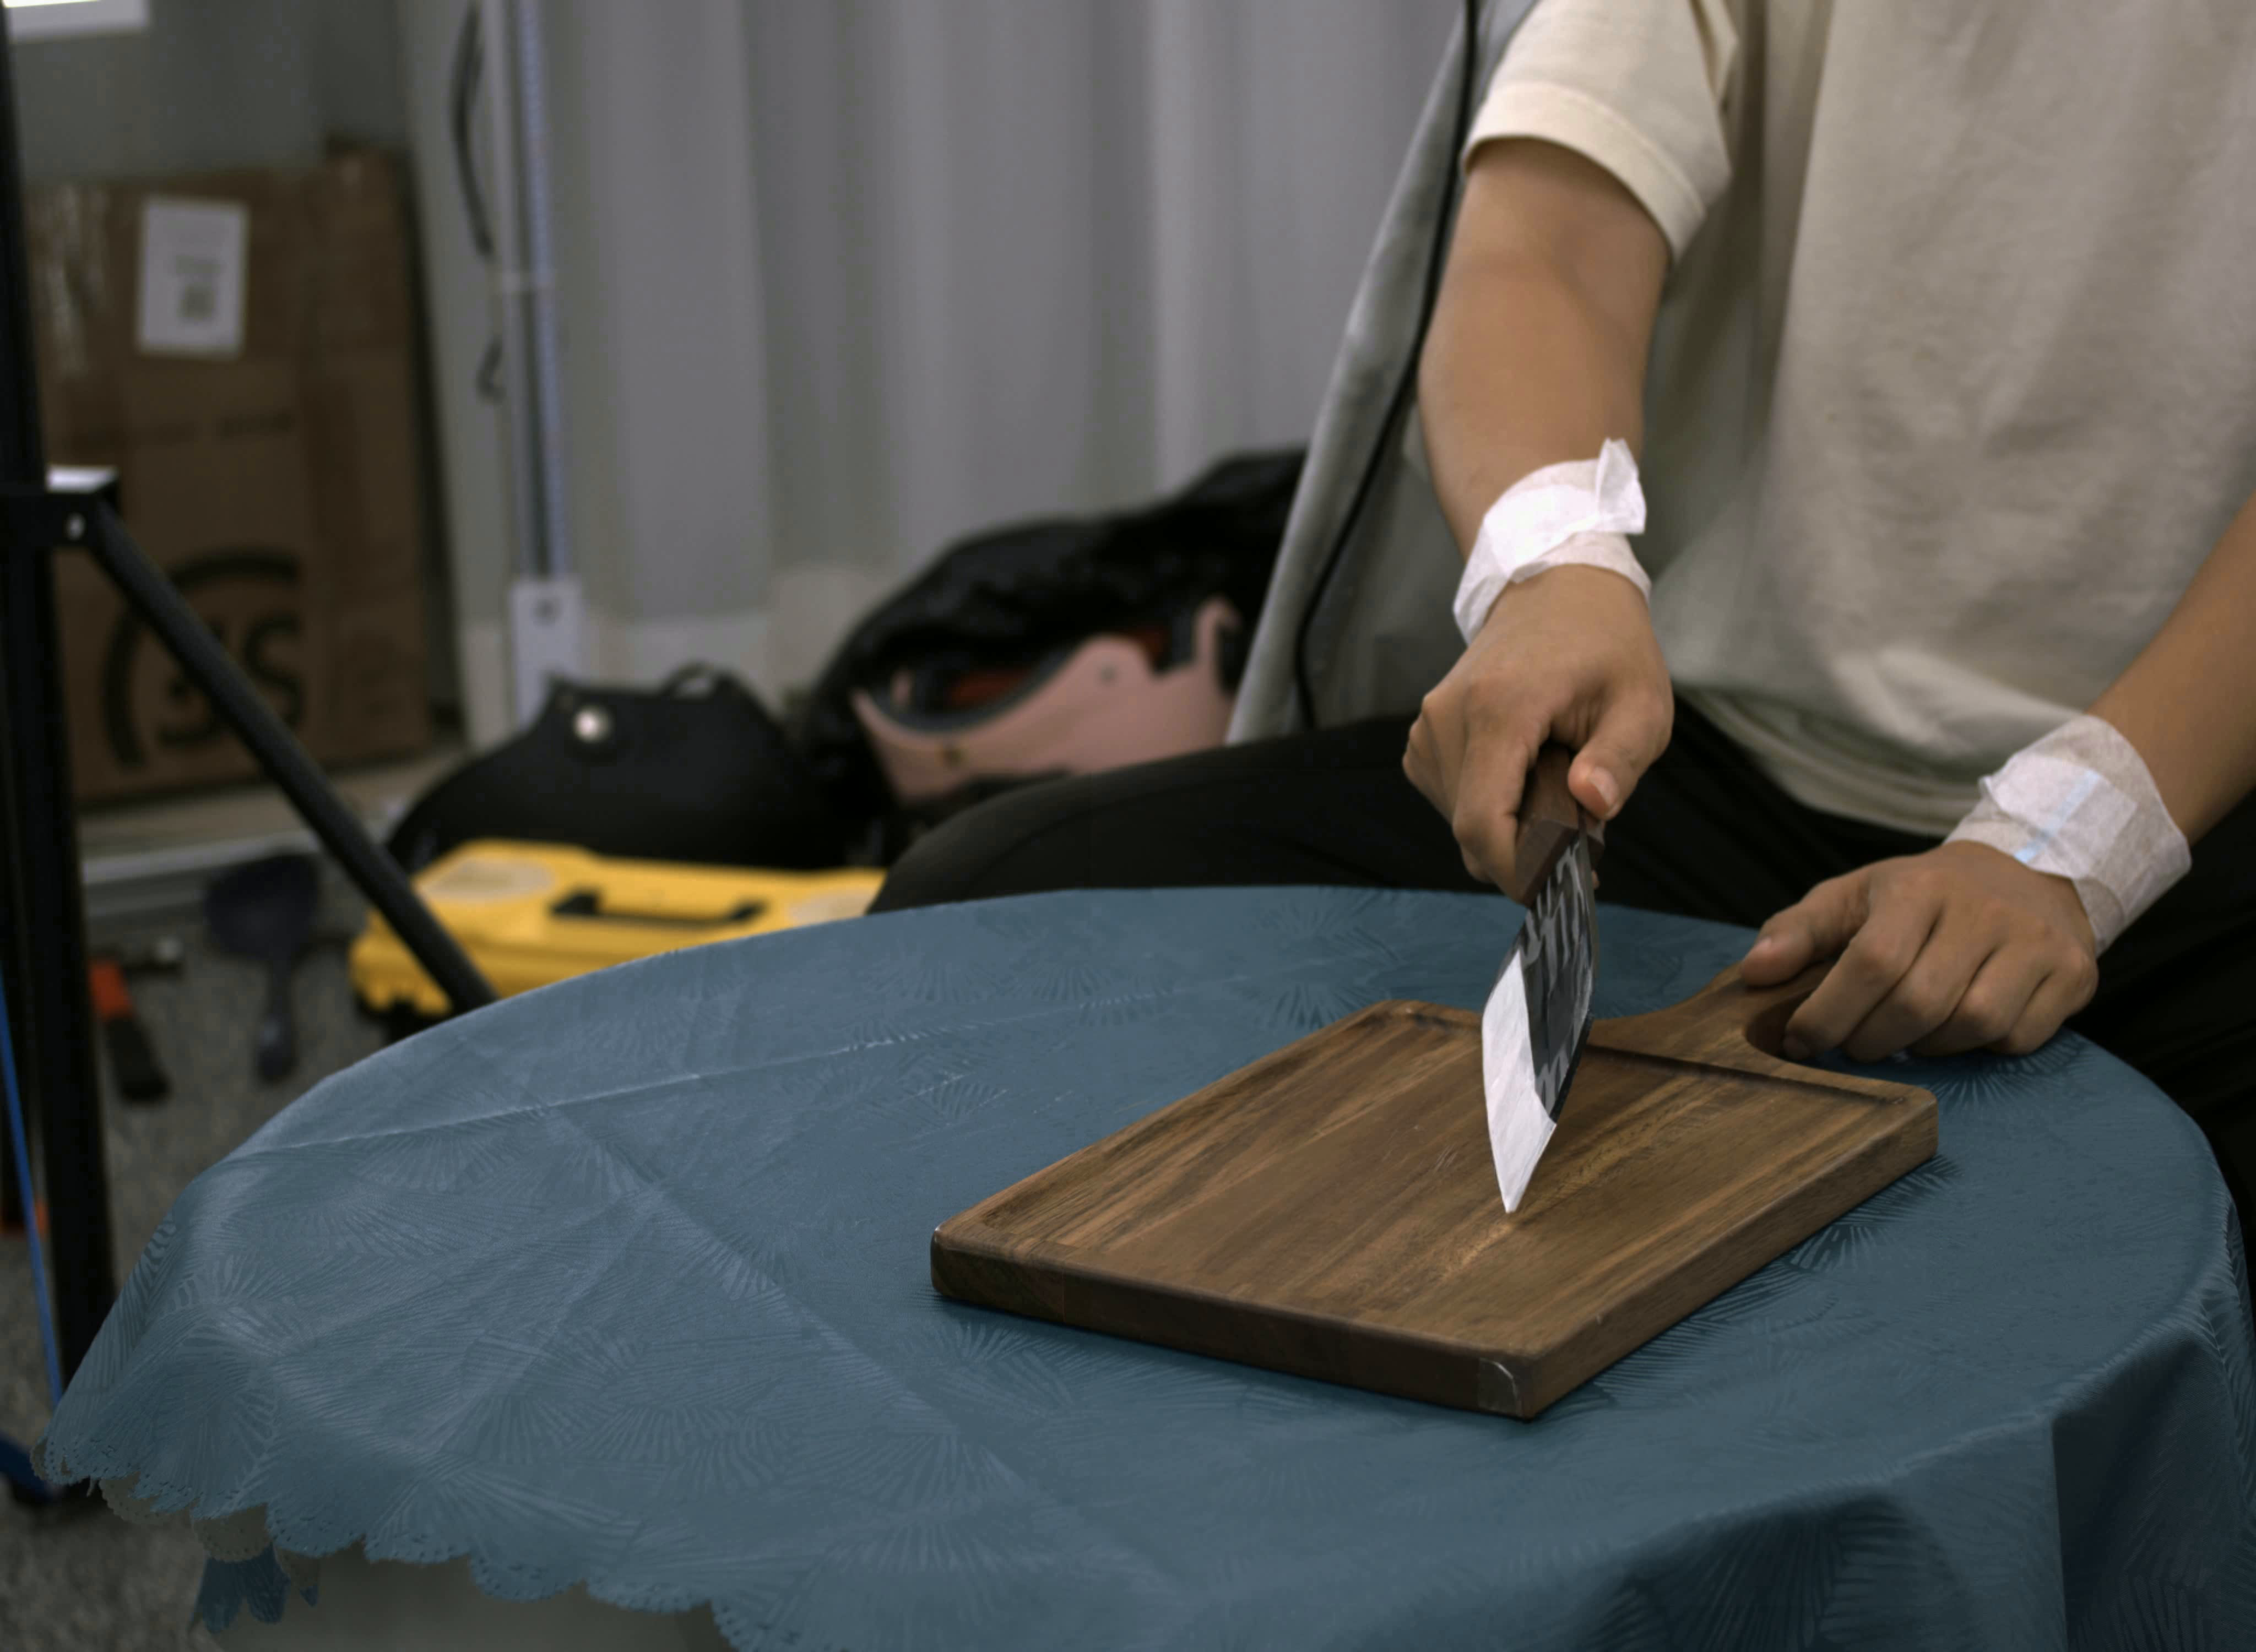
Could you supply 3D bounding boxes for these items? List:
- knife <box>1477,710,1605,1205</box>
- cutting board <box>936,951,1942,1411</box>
[{"bbox_3d":[0.123,0.036,1.604,0.024,0.068,0.300,27,19,-7],"label":"knife"},{"bbox_3d":[0.121,0.092,1.555,0.205,0.023,0.345,8,18,34],"label":"cutting board"}]
